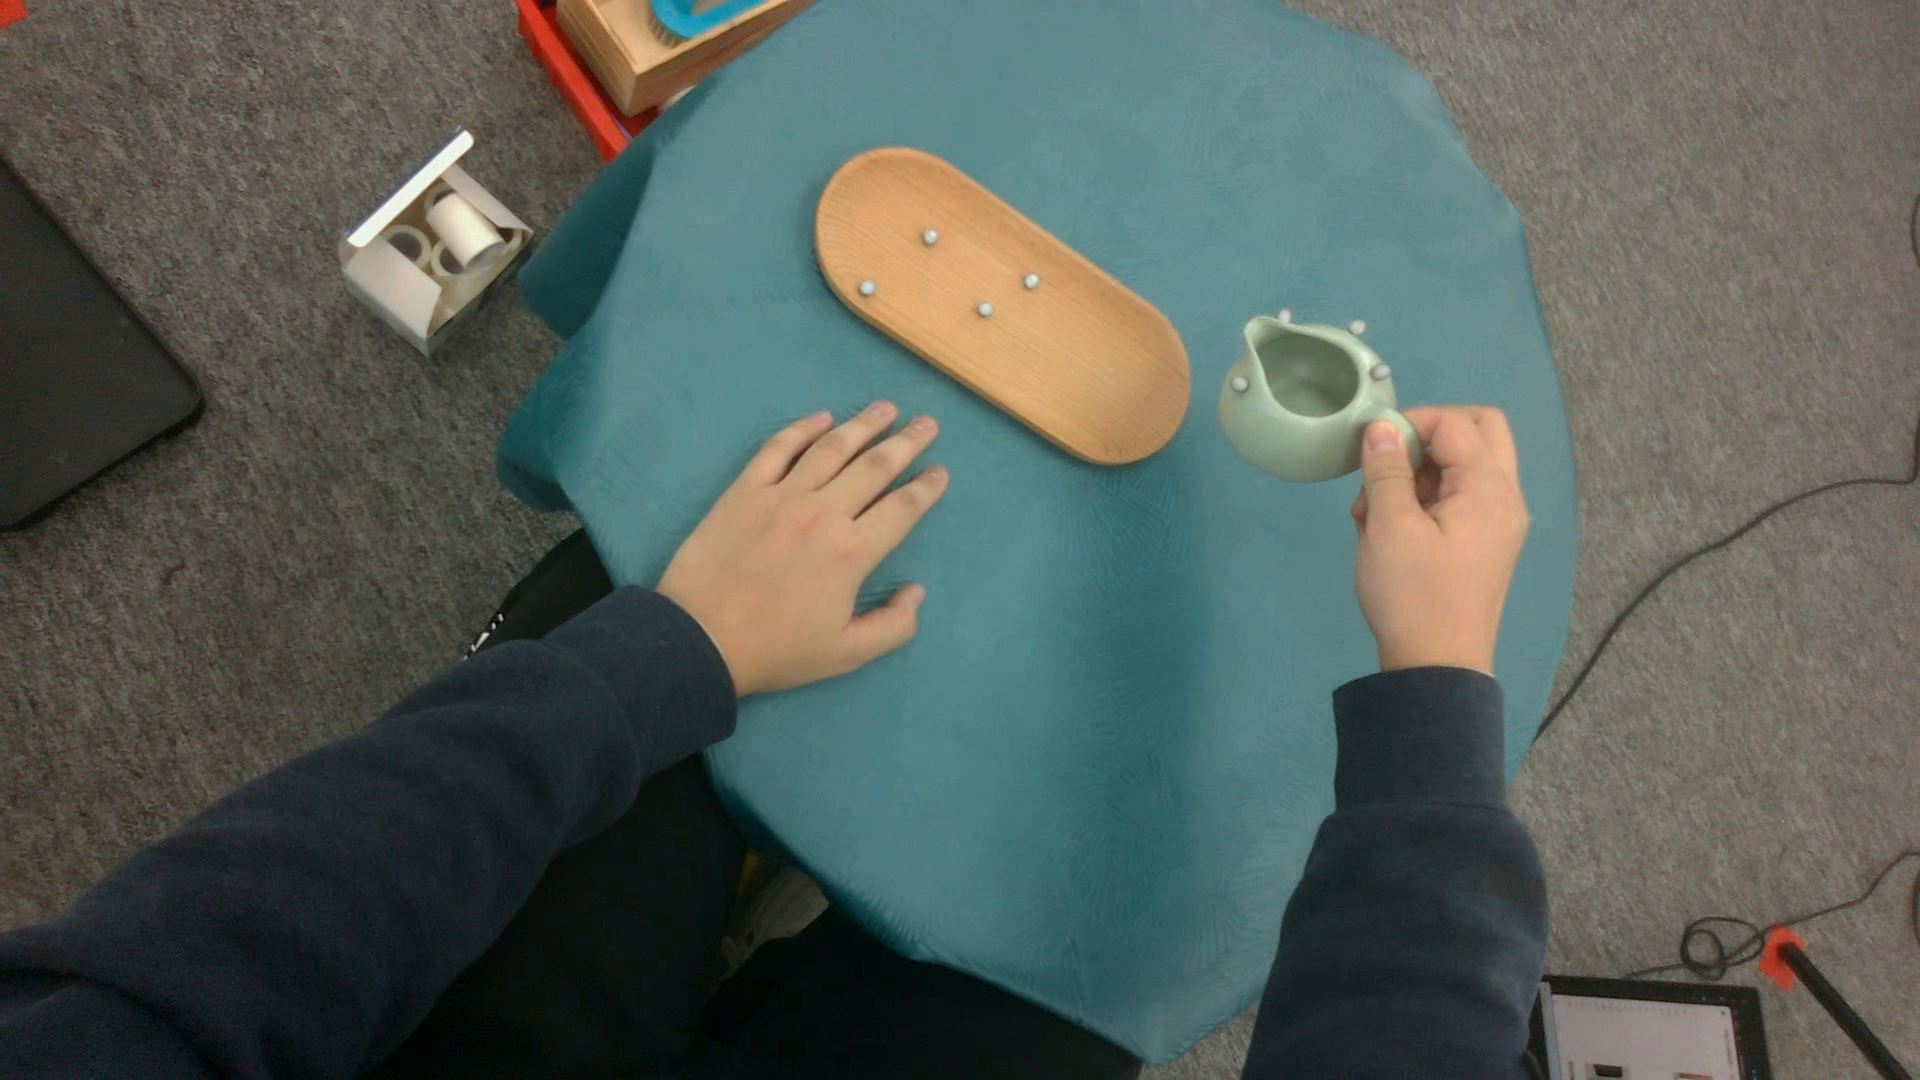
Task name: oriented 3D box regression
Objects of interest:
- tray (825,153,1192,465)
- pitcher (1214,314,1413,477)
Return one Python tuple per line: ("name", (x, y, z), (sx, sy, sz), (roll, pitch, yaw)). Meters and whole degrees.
("tray", (0.029, -0.126, 0.762), (0.231, 0.020, 0.102), (32, 74, -14))
("pitcher", (0.182, -0.069, 0.697), (0.108, 0.060, 0.086), (39, 79, 20))
